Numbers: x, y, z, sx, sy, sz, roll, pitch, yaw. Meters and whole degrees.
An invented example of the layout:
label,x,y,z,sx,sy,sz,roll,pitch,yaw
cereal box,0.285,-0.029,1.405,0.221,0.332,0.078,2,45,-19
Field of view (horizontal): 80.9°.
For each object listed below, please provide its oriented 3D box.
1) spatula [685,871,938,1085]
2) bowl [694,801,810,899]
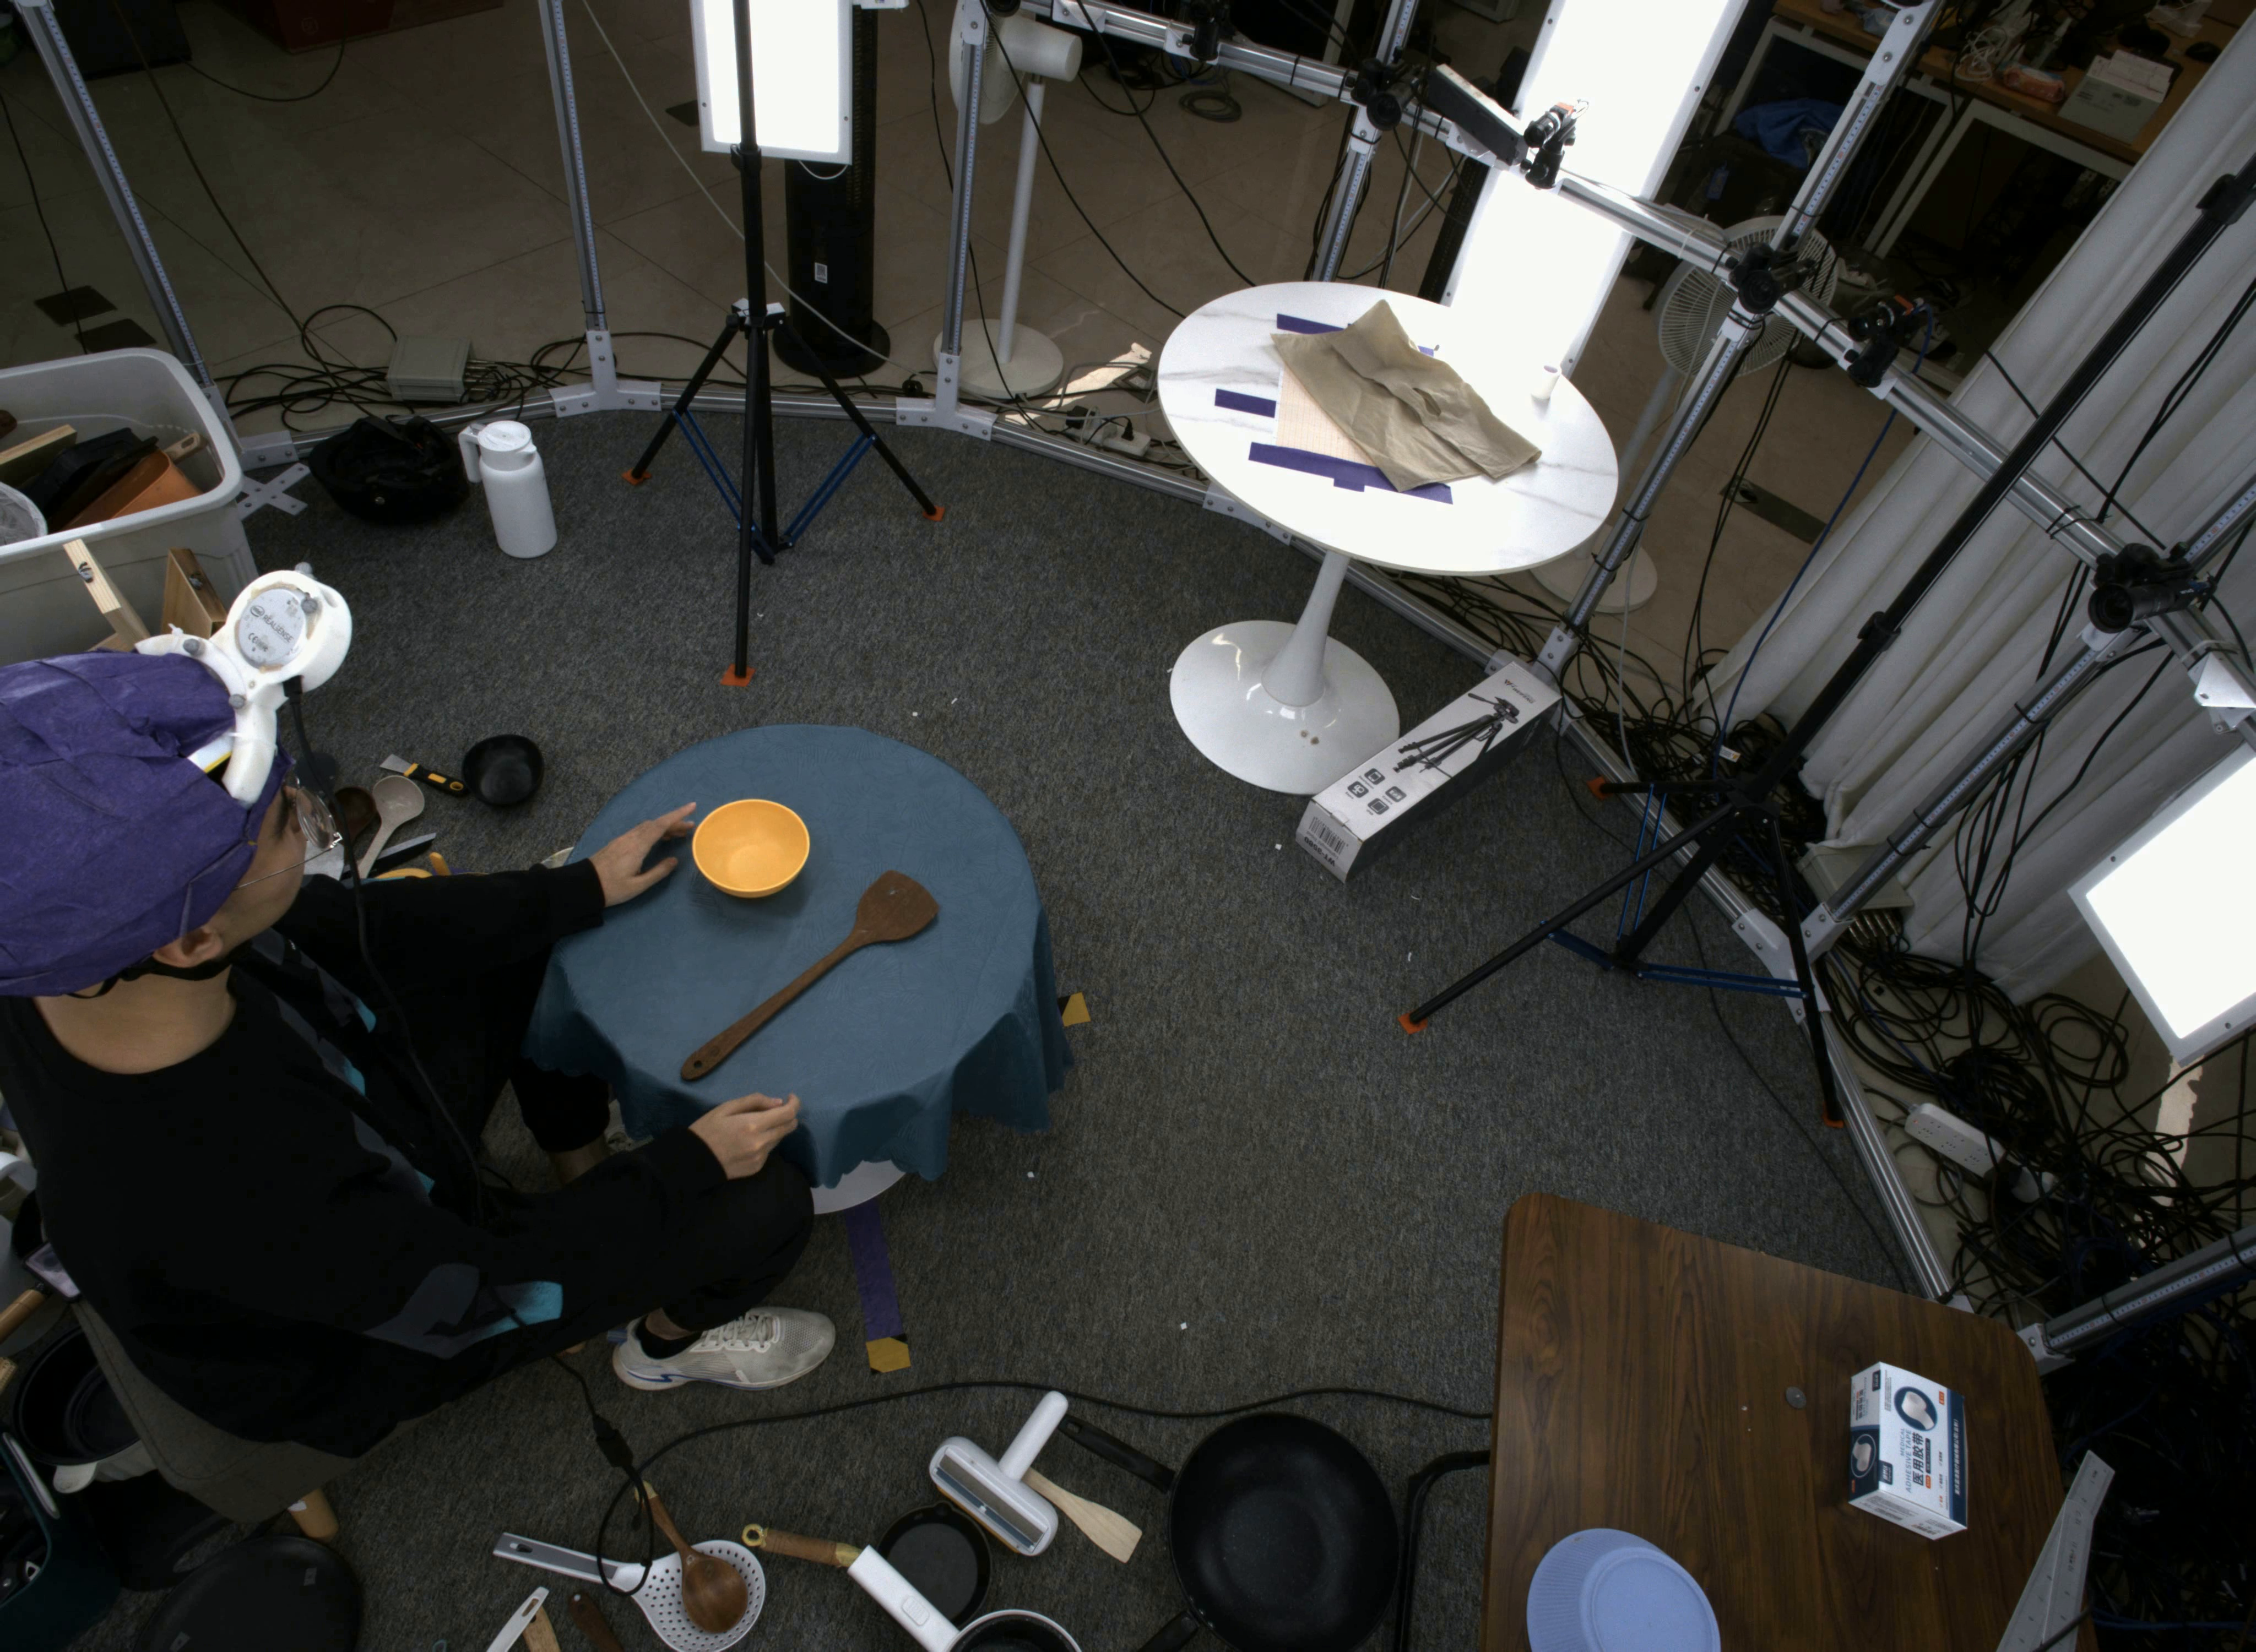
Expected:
label,x,y,z,sx,sy,sz,roll,pitch,yaw
spatula,-0.390,0.184,1.592,0.094,0.016,0.386,38,54,15
bowl,-0.476,0.041,1.650,0.144,0.061,0.143,6,52,-6
